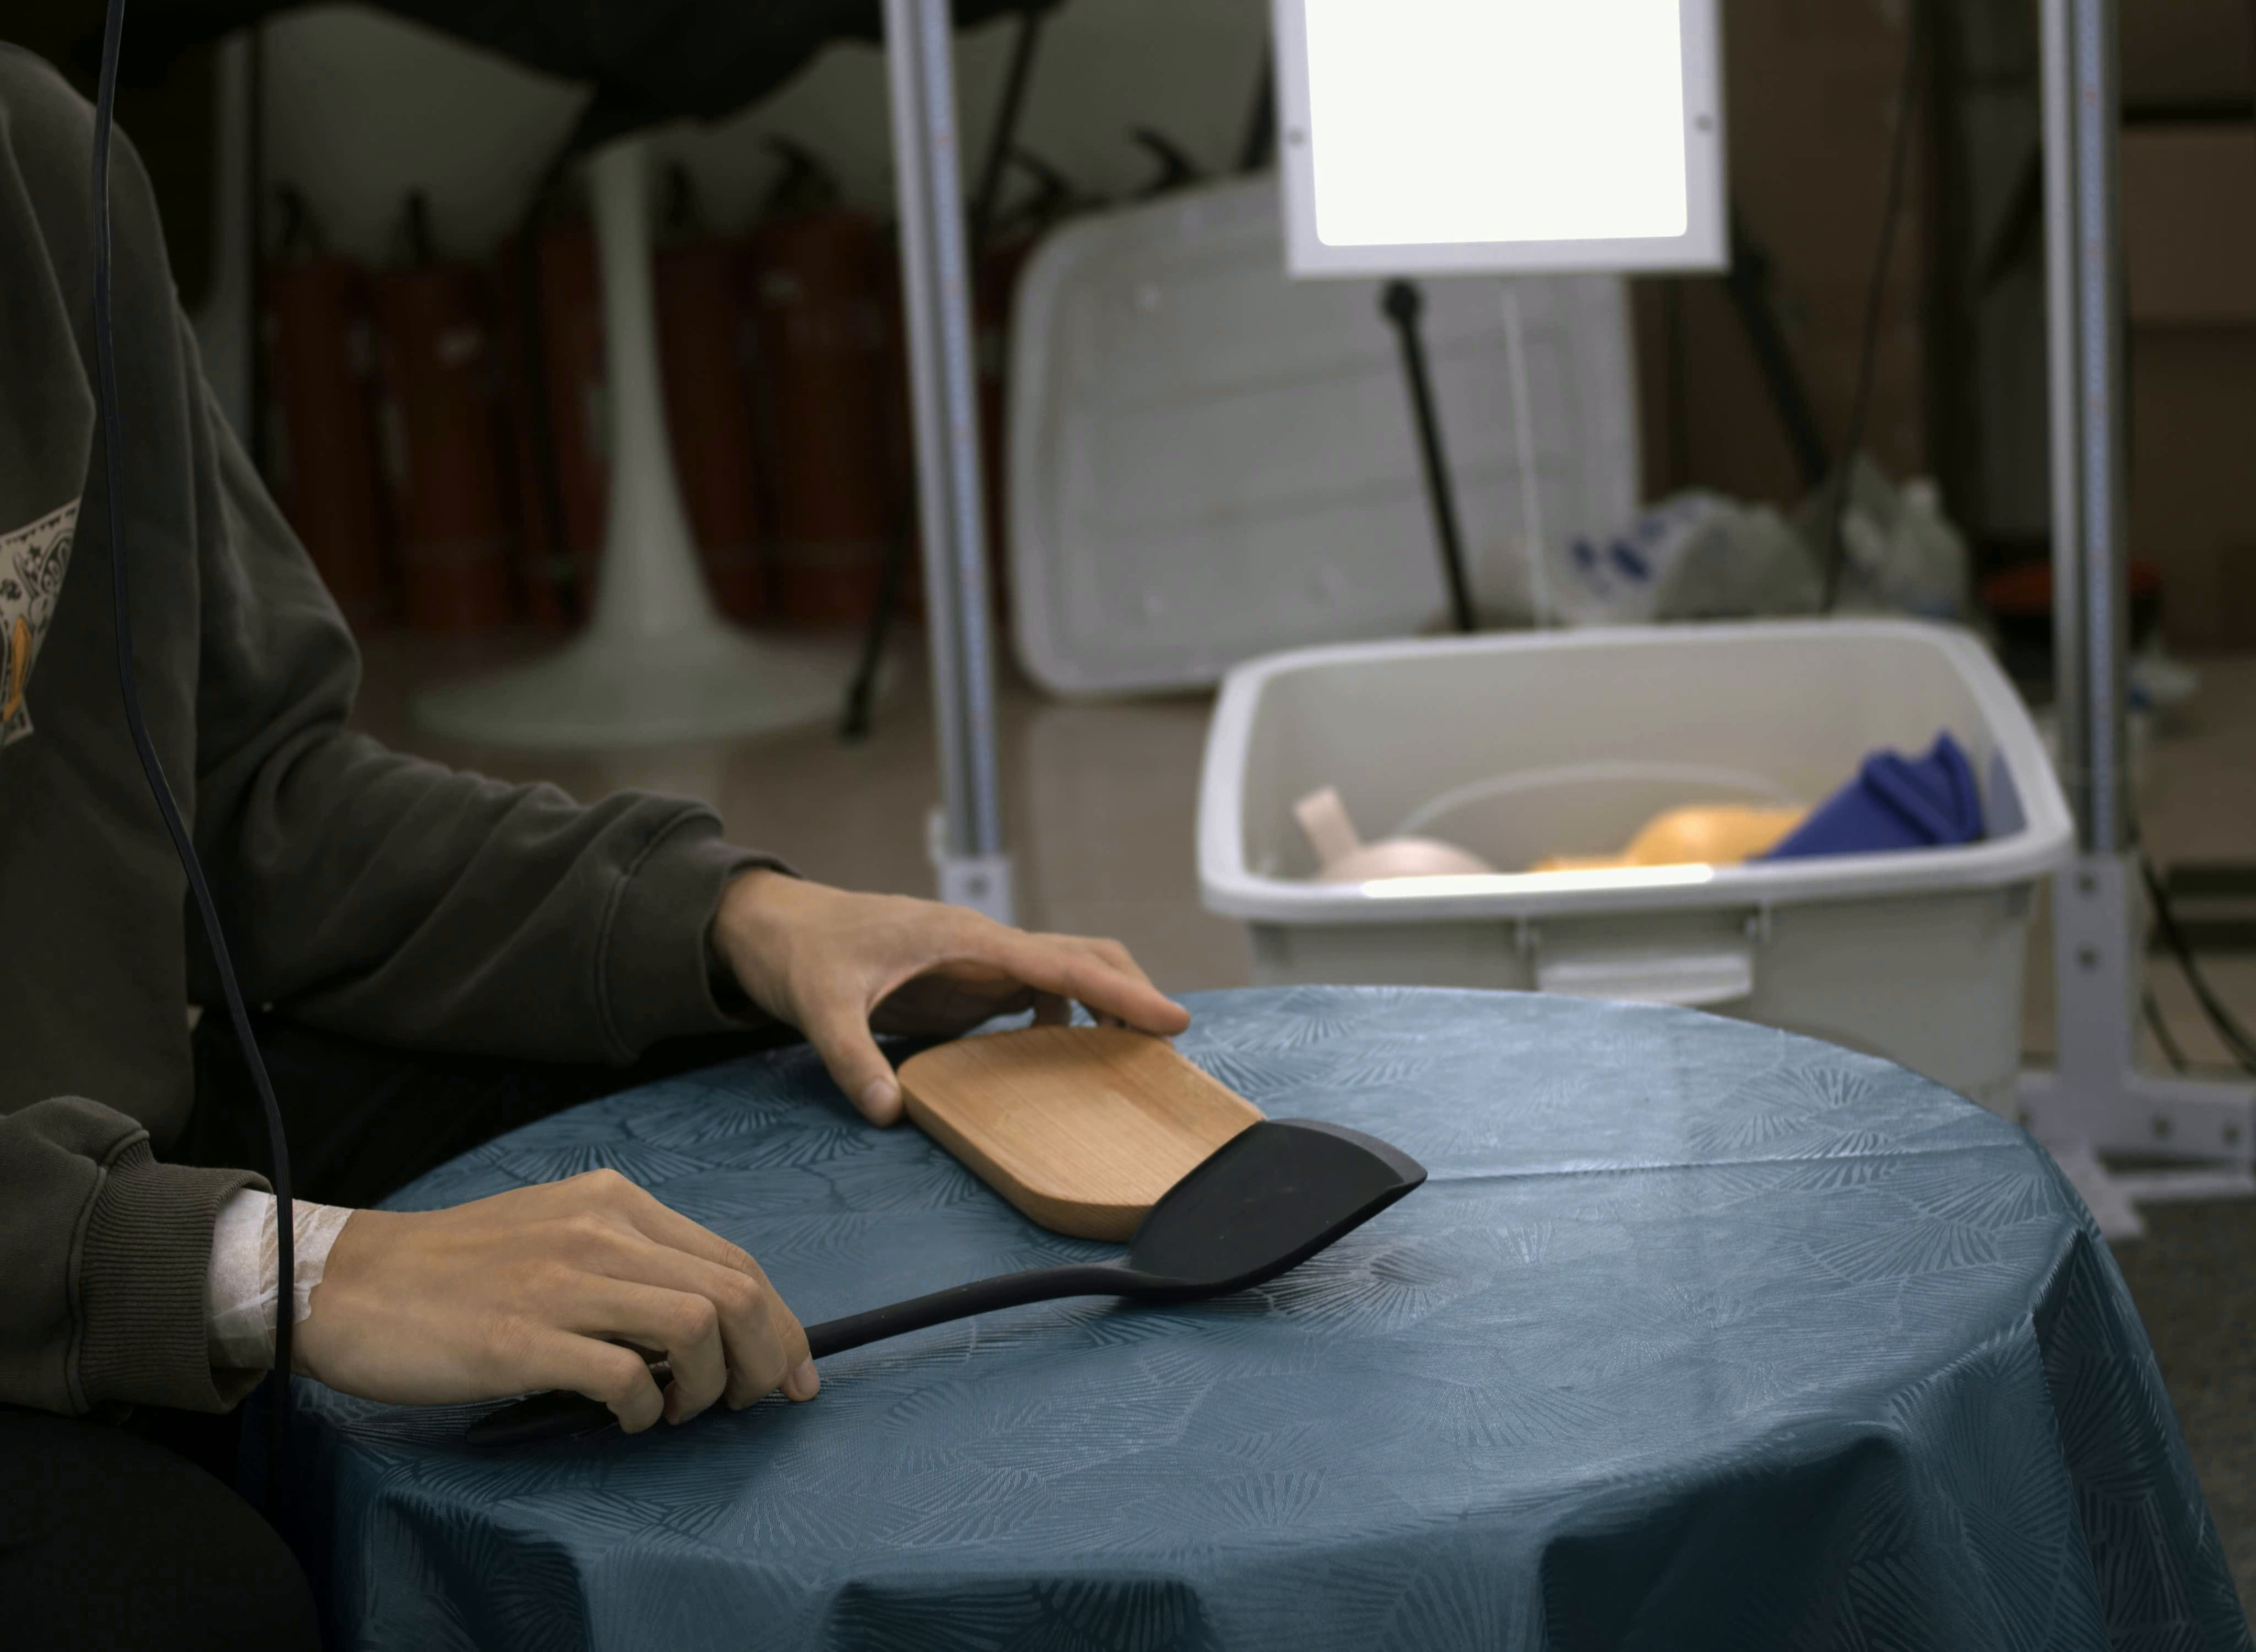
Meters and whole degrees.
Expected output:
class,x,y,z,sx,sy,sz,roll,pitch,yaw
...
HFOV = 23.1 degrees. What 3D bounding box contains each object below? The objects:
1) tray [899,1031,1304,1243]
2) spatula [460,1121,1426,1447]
class,x,y,z,sx,sy,sz,roll,pitch,yaw
tray,-0.011,0.108,1.942,0.100,0.020,0.234,-10,16,-17
spatula,-0.061,0.148,1.752,0.319,0.040,0.101,-10,12,-24
